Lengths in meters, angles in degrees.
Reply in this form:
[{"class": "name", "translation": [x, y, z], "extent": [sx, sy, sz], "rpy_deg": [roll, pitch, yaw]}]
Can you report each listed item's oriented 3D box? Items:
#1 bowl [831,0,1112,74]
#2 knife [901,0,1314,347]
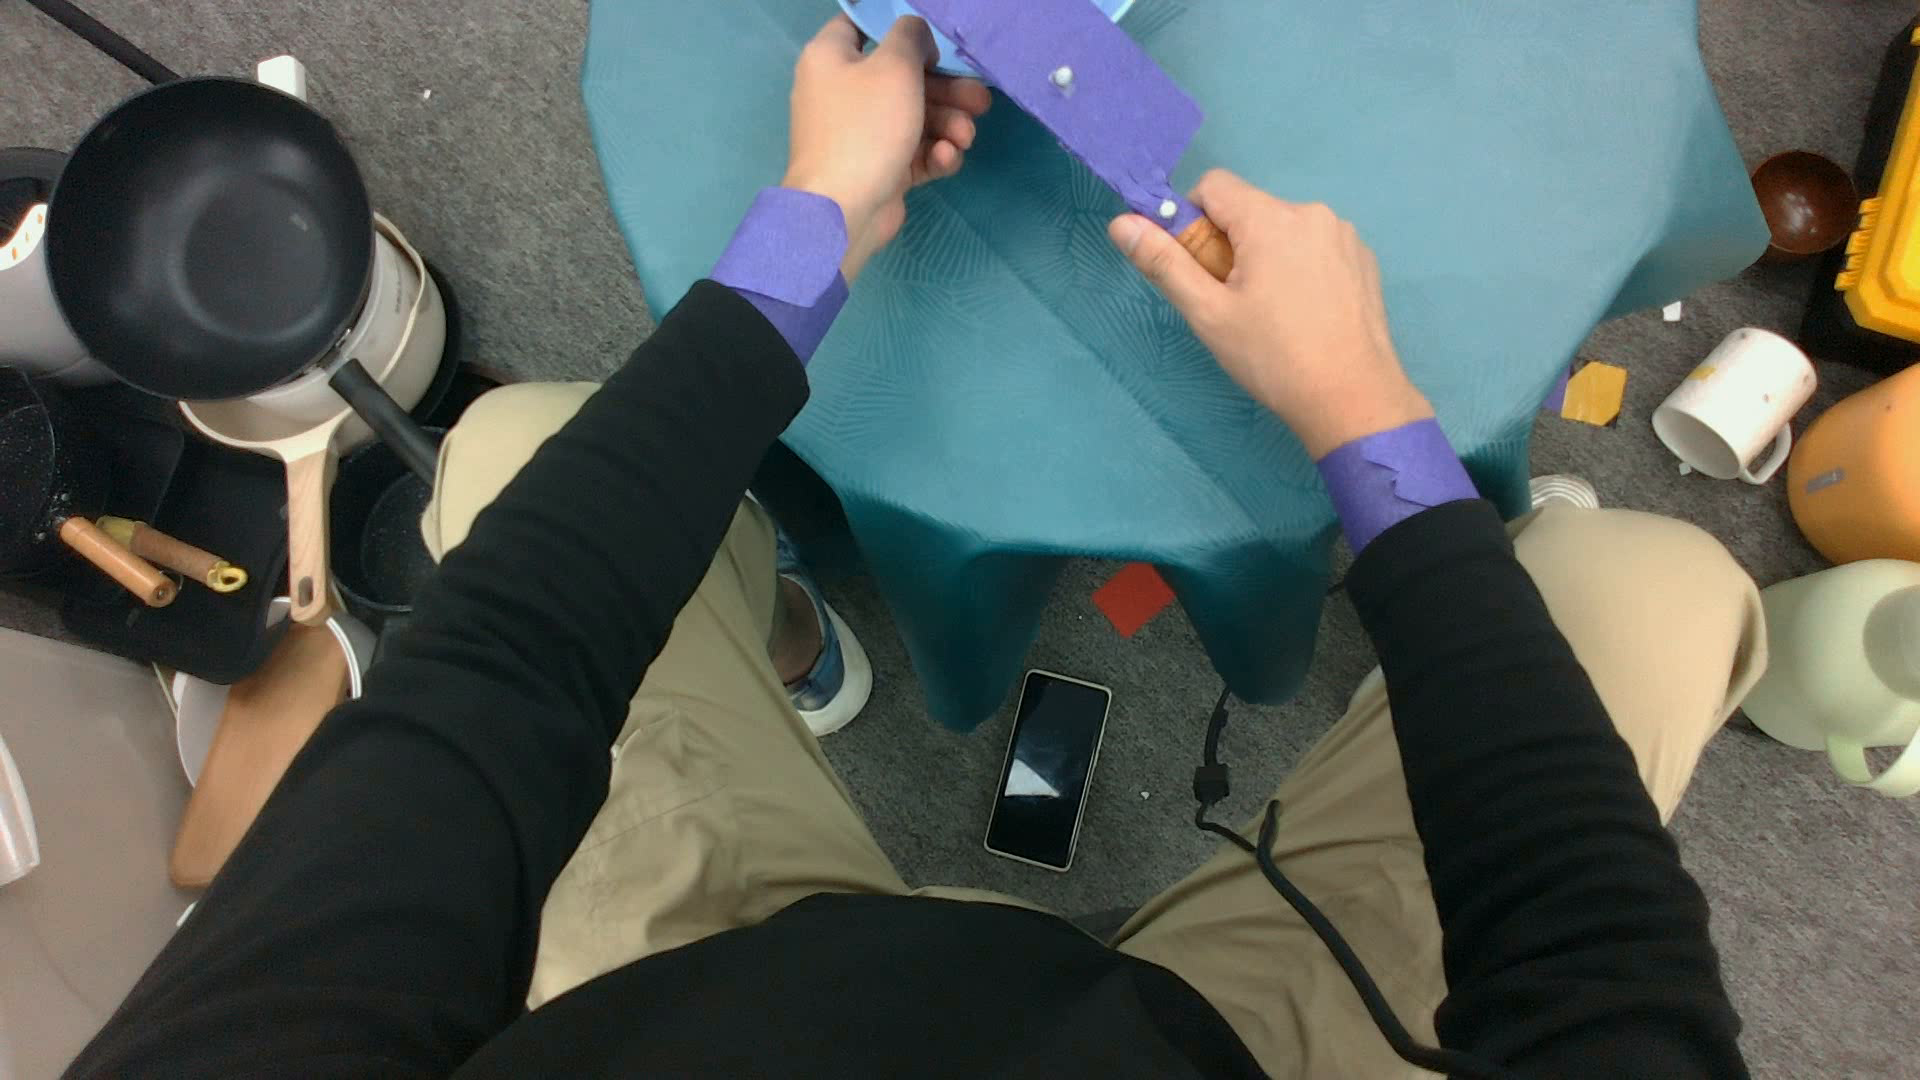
[{"class": "bowl", "translation": [0.011, -0.316, 0.726], "extent": [0.176, 0.070, 0.176], "rpy_deg": [-1, 81, 5]}, {"class": "knife", "translation": [0.058, -0.221, 0.651], "extent": [0.315, 0.032, 0.104], "rpy_deg": [39, 57, -15]}]
